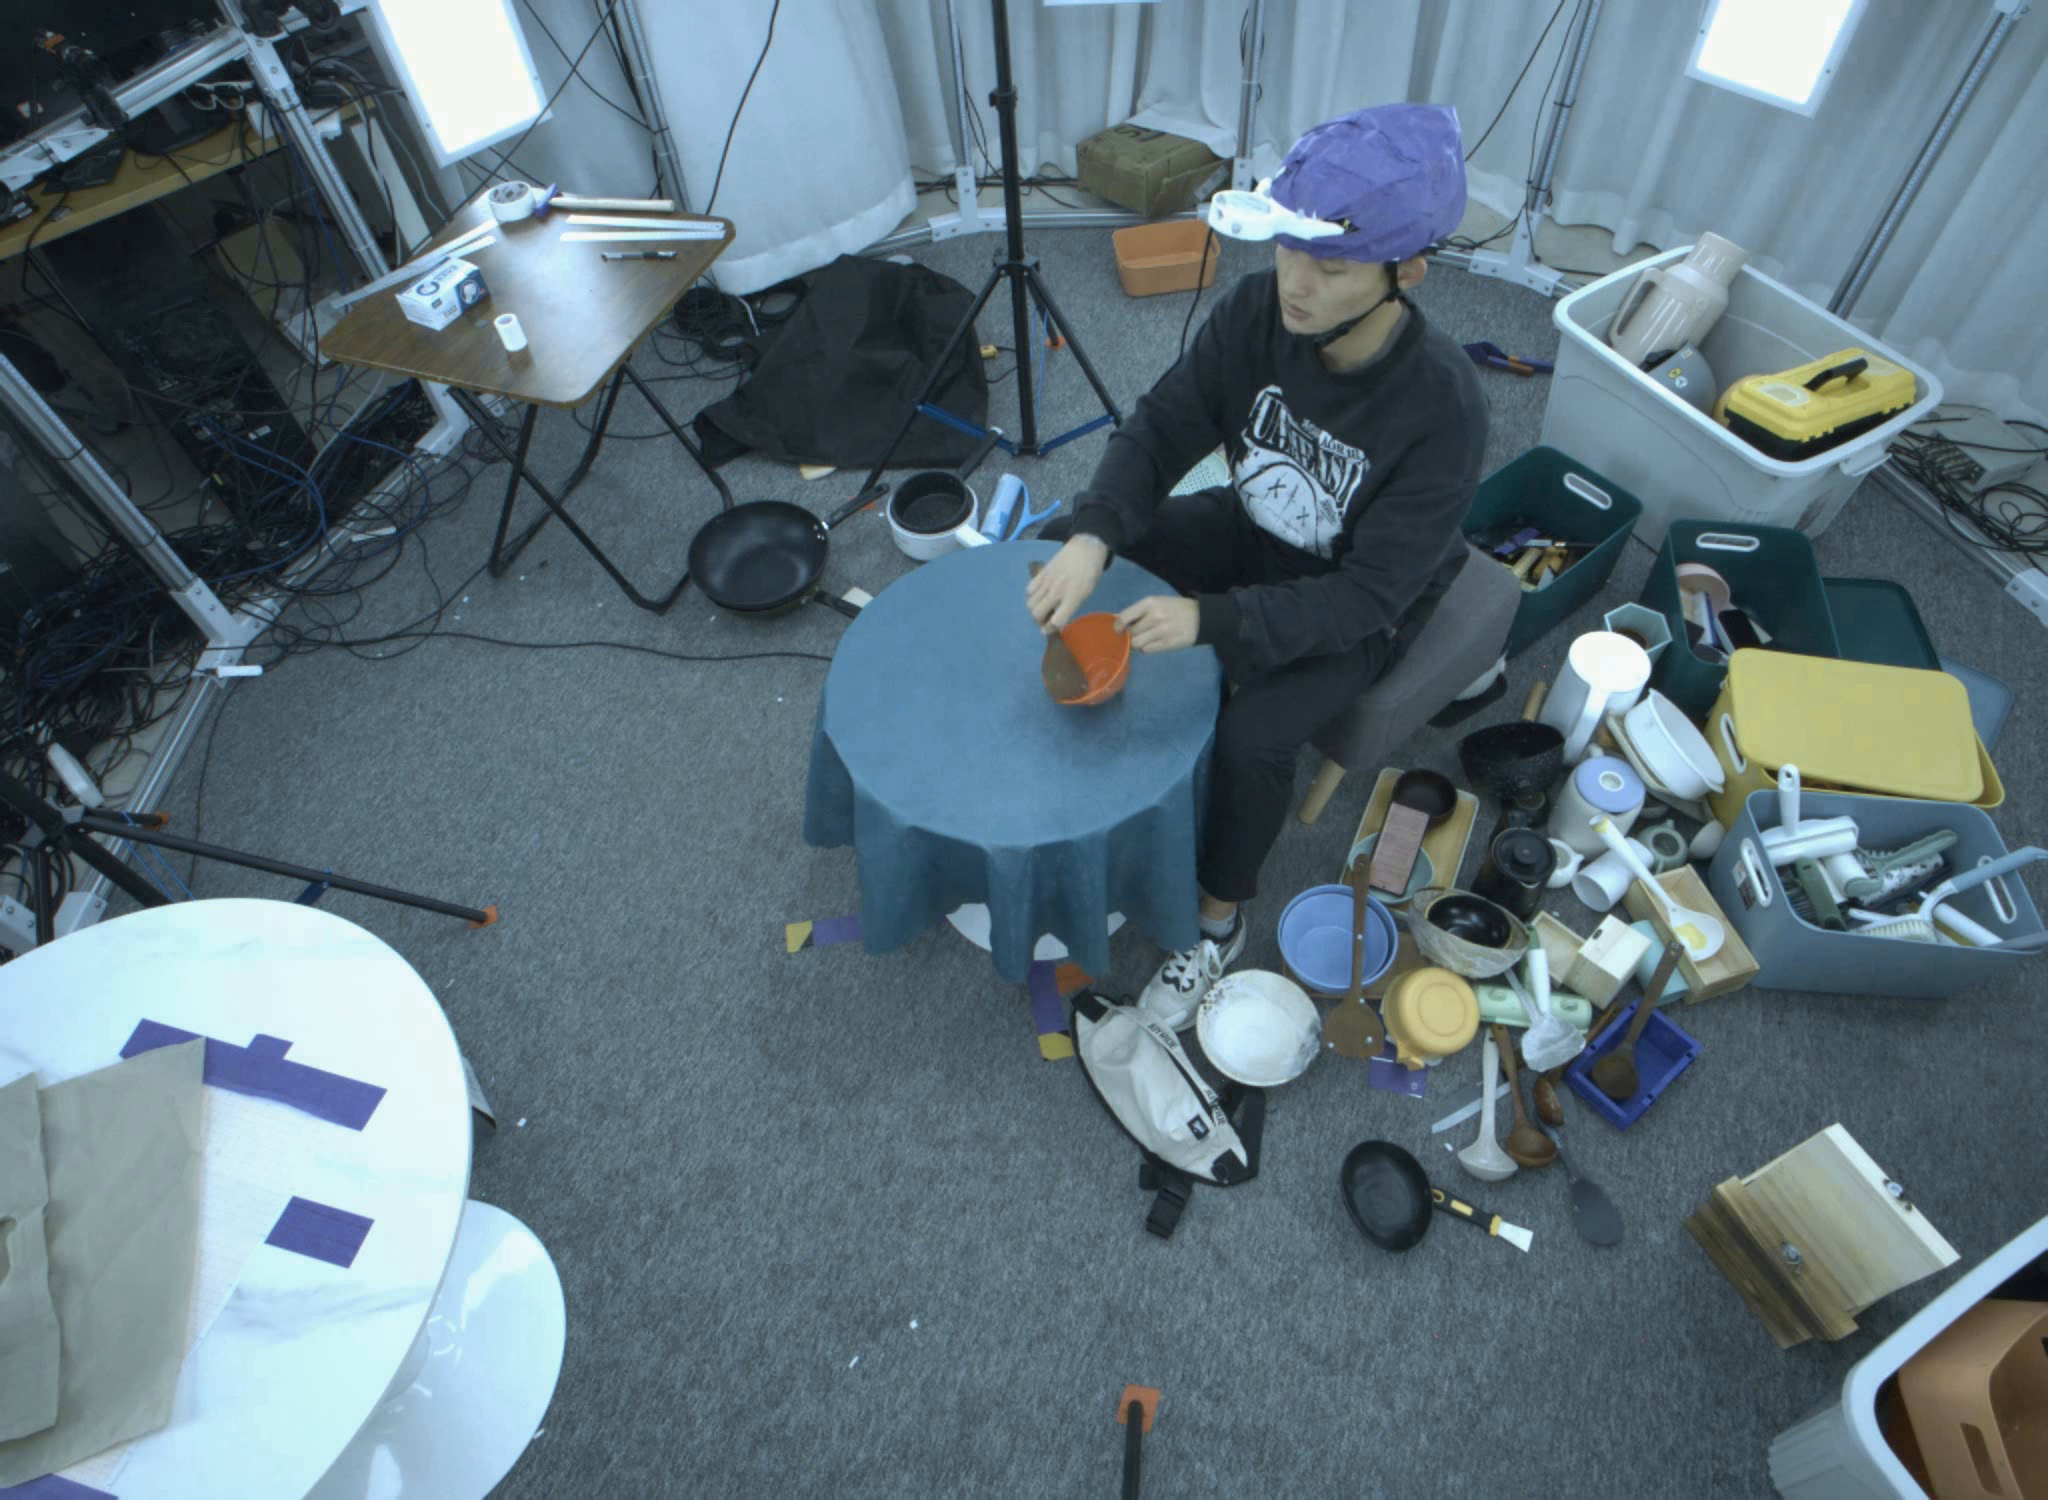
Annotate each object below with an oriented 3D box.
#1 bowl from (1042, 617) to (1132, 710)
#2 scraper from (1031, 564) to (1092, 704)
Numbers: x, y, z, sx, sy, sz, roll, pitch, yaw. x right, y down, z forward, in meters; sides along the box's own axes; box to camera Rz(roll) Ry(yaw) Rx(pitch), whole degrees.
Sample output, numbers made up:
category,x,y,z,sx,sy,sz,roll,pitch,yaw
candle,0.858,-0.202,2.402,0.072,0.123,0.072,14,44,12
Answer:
category,x,y,z,sx,sy,sz,roll,pitch,yaw
bowl,0.107,-0.112,1.800,0.146,0.107,0.147,-10,65,24
scraper,0.044,-0.168,1.771,0.077,0.010,0.210,-11,84,-36
